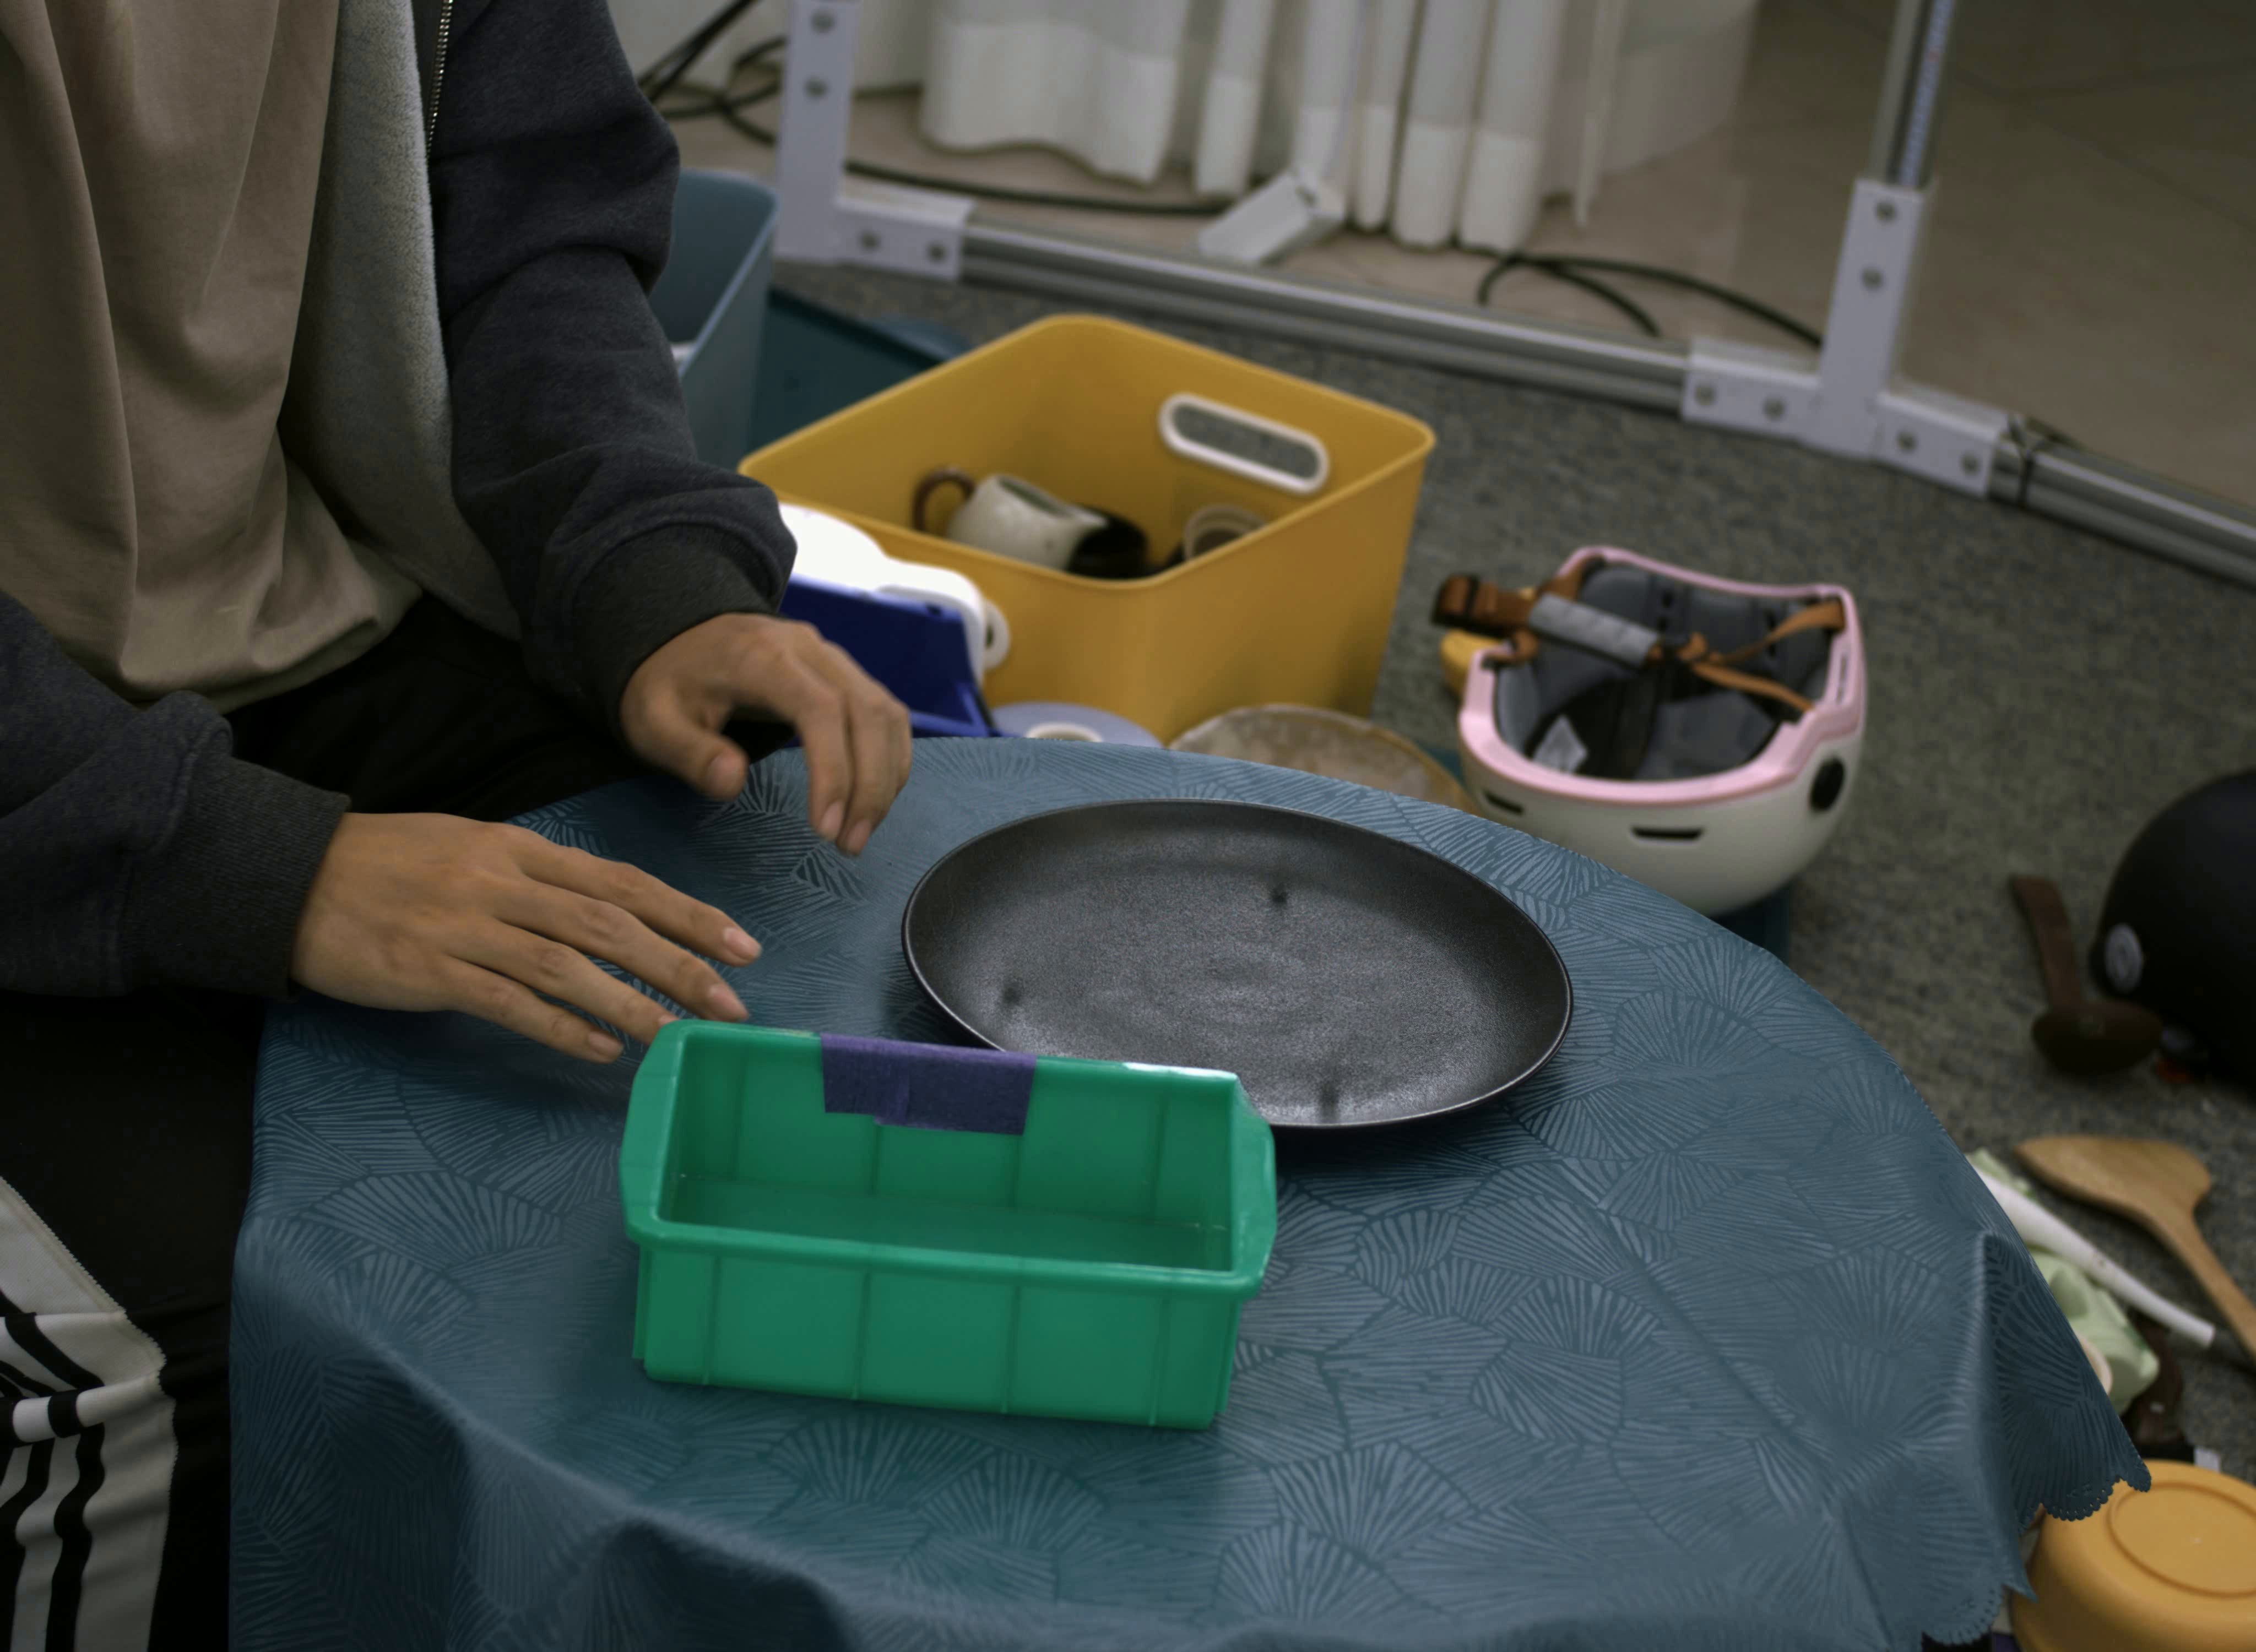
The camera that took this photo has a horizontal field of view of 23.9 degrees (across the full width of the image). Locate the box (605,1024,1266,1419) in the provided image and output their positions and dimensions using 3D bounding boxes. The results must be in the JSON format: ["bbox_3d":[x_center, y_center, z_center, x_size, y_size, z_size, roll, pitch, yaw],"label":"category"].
[{"bbox_3d":[-0.063,0.128,1.708,0.210,0.065,0.139,3,25,-2],"label":"box"}]

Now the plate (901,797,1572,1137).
[{"bbox_3d":[0.038,0.055,1.919,0.243,0.023,0.246,5,27,-3],"label":"plate"}]
